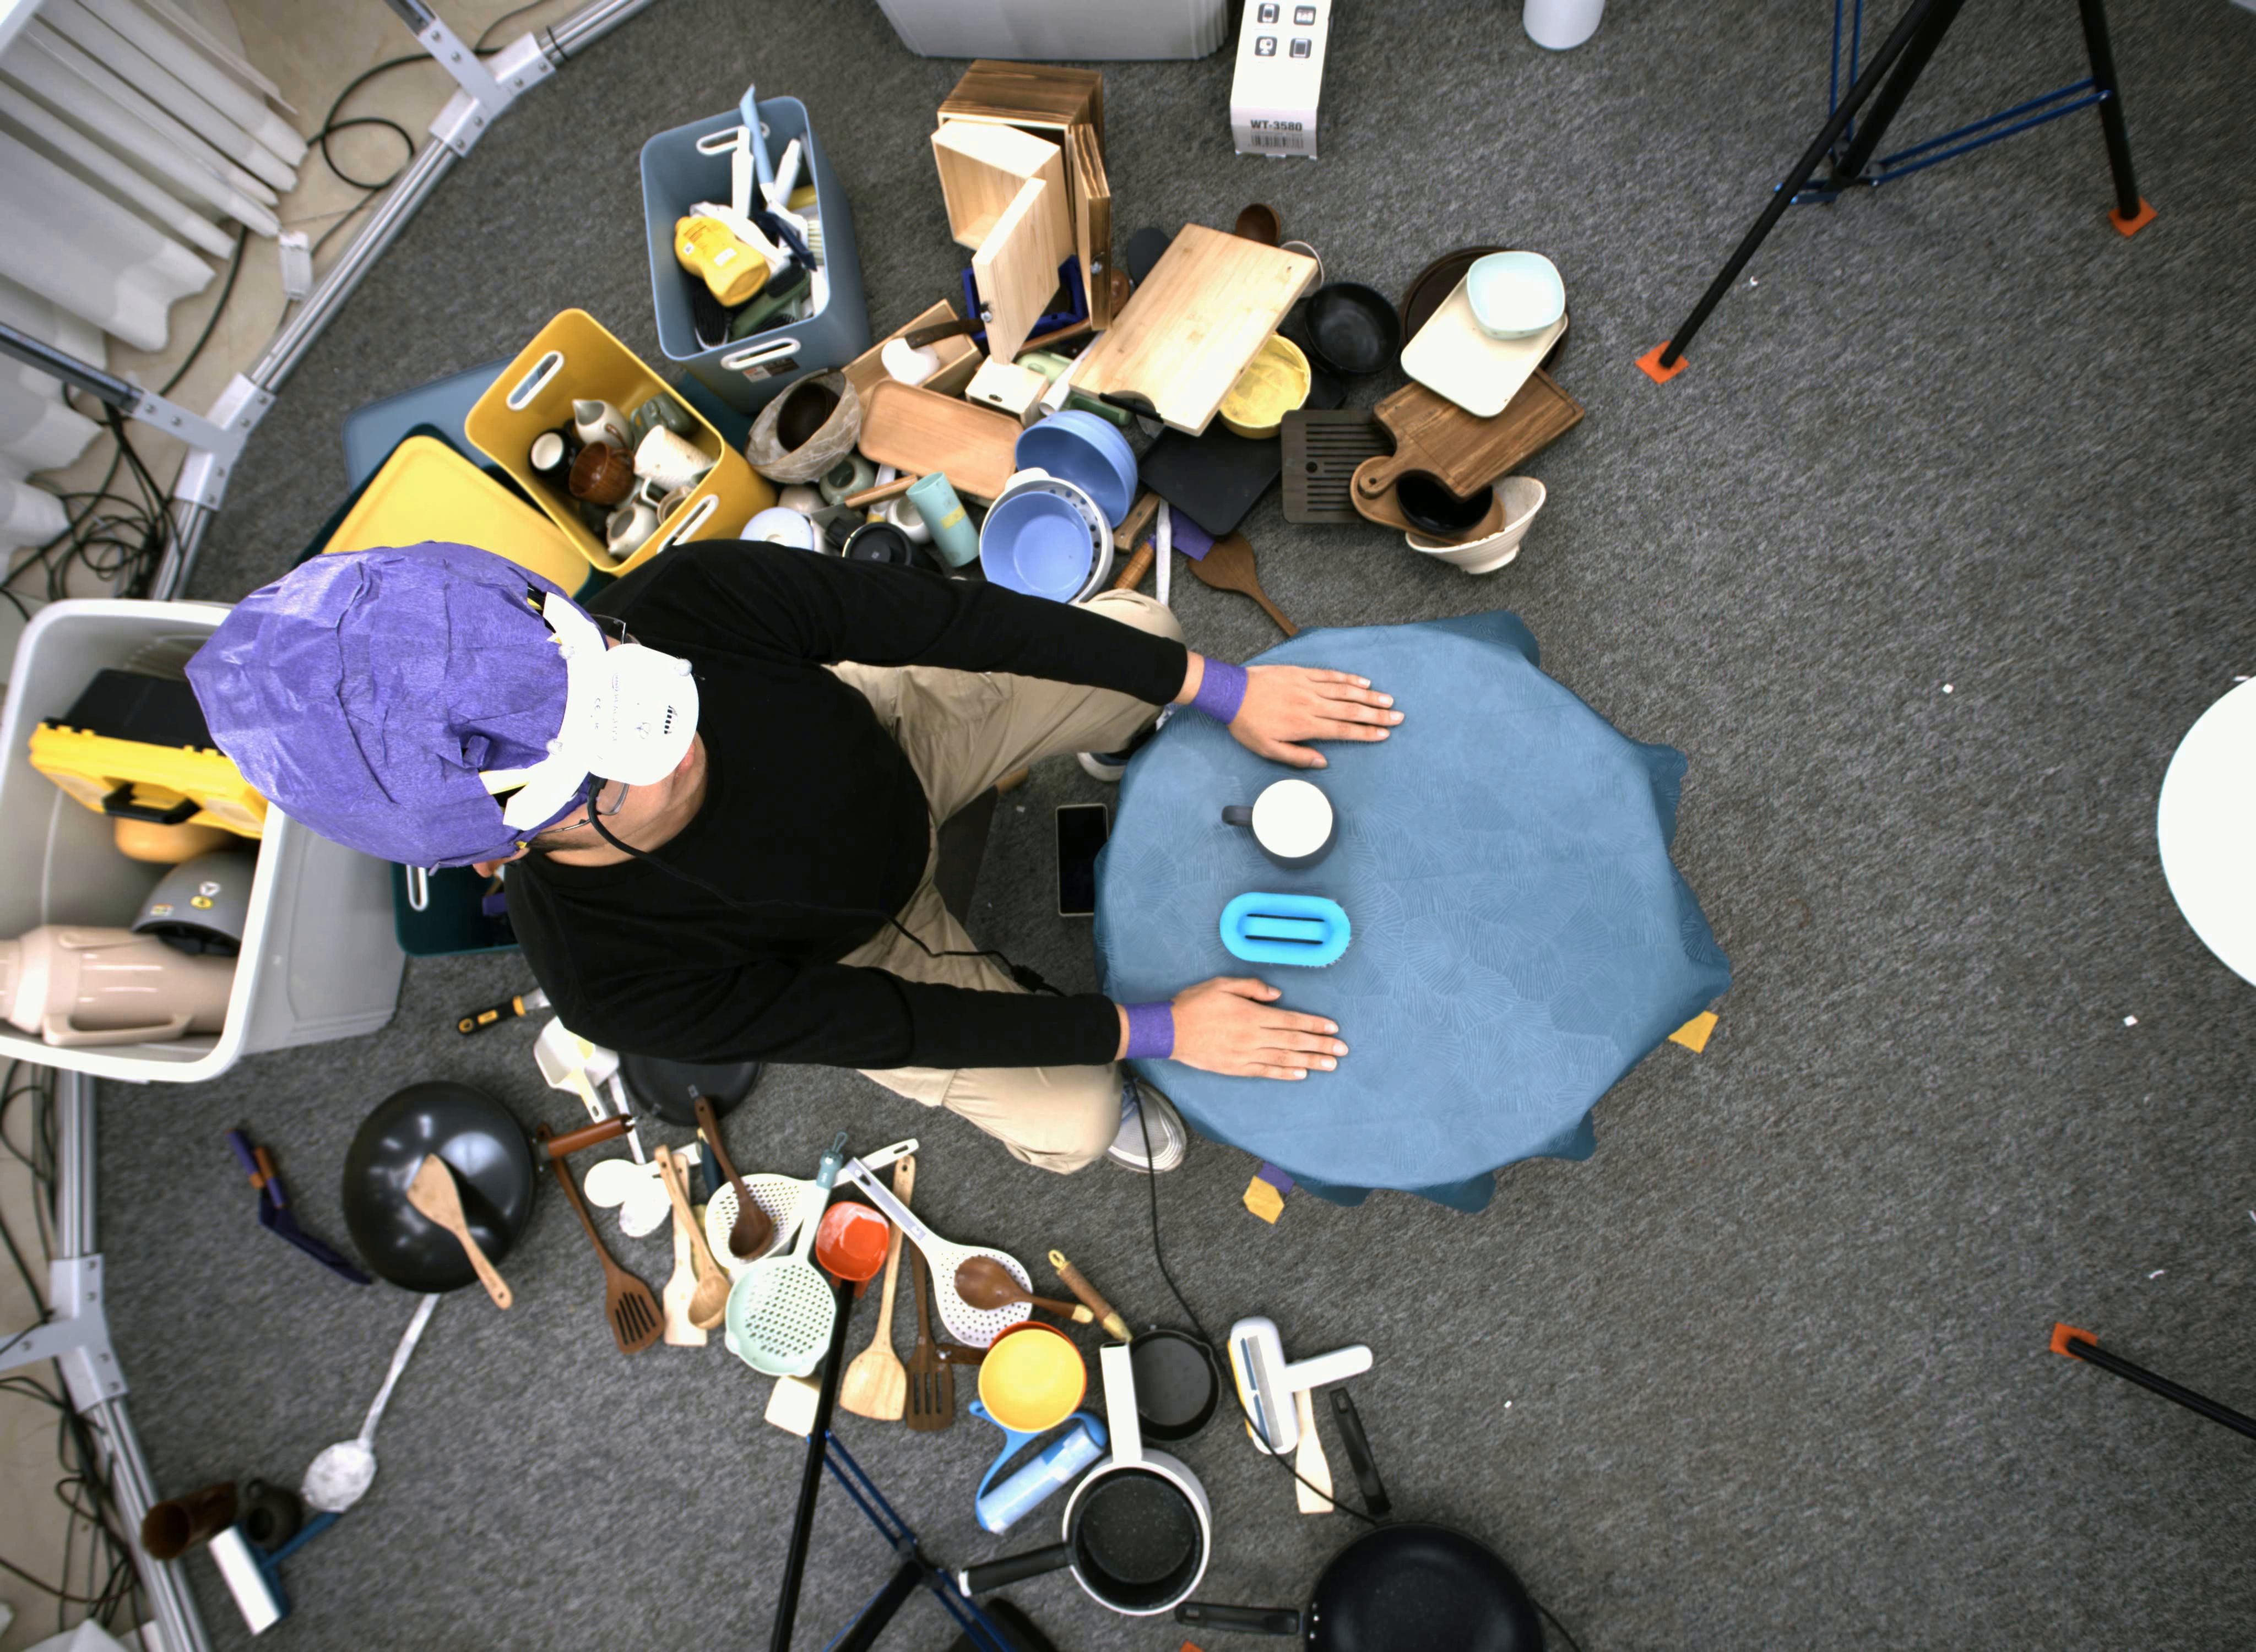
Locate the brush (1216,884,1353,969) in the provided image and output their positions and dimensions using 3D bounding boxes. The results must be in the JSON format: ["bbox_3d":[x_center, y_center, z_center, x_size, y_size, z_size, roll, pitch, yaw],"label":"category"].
[{"bbox_3d":[0.162,0.104,1.444,0.142,0.063,0.084,5,92,12],"label":"brush"}]

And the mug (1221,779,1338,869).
[{"bbox_3d":[0.157,-0.007,1.436,0.123,0.090,0.093,10,86,9],"label":"mug"}]
